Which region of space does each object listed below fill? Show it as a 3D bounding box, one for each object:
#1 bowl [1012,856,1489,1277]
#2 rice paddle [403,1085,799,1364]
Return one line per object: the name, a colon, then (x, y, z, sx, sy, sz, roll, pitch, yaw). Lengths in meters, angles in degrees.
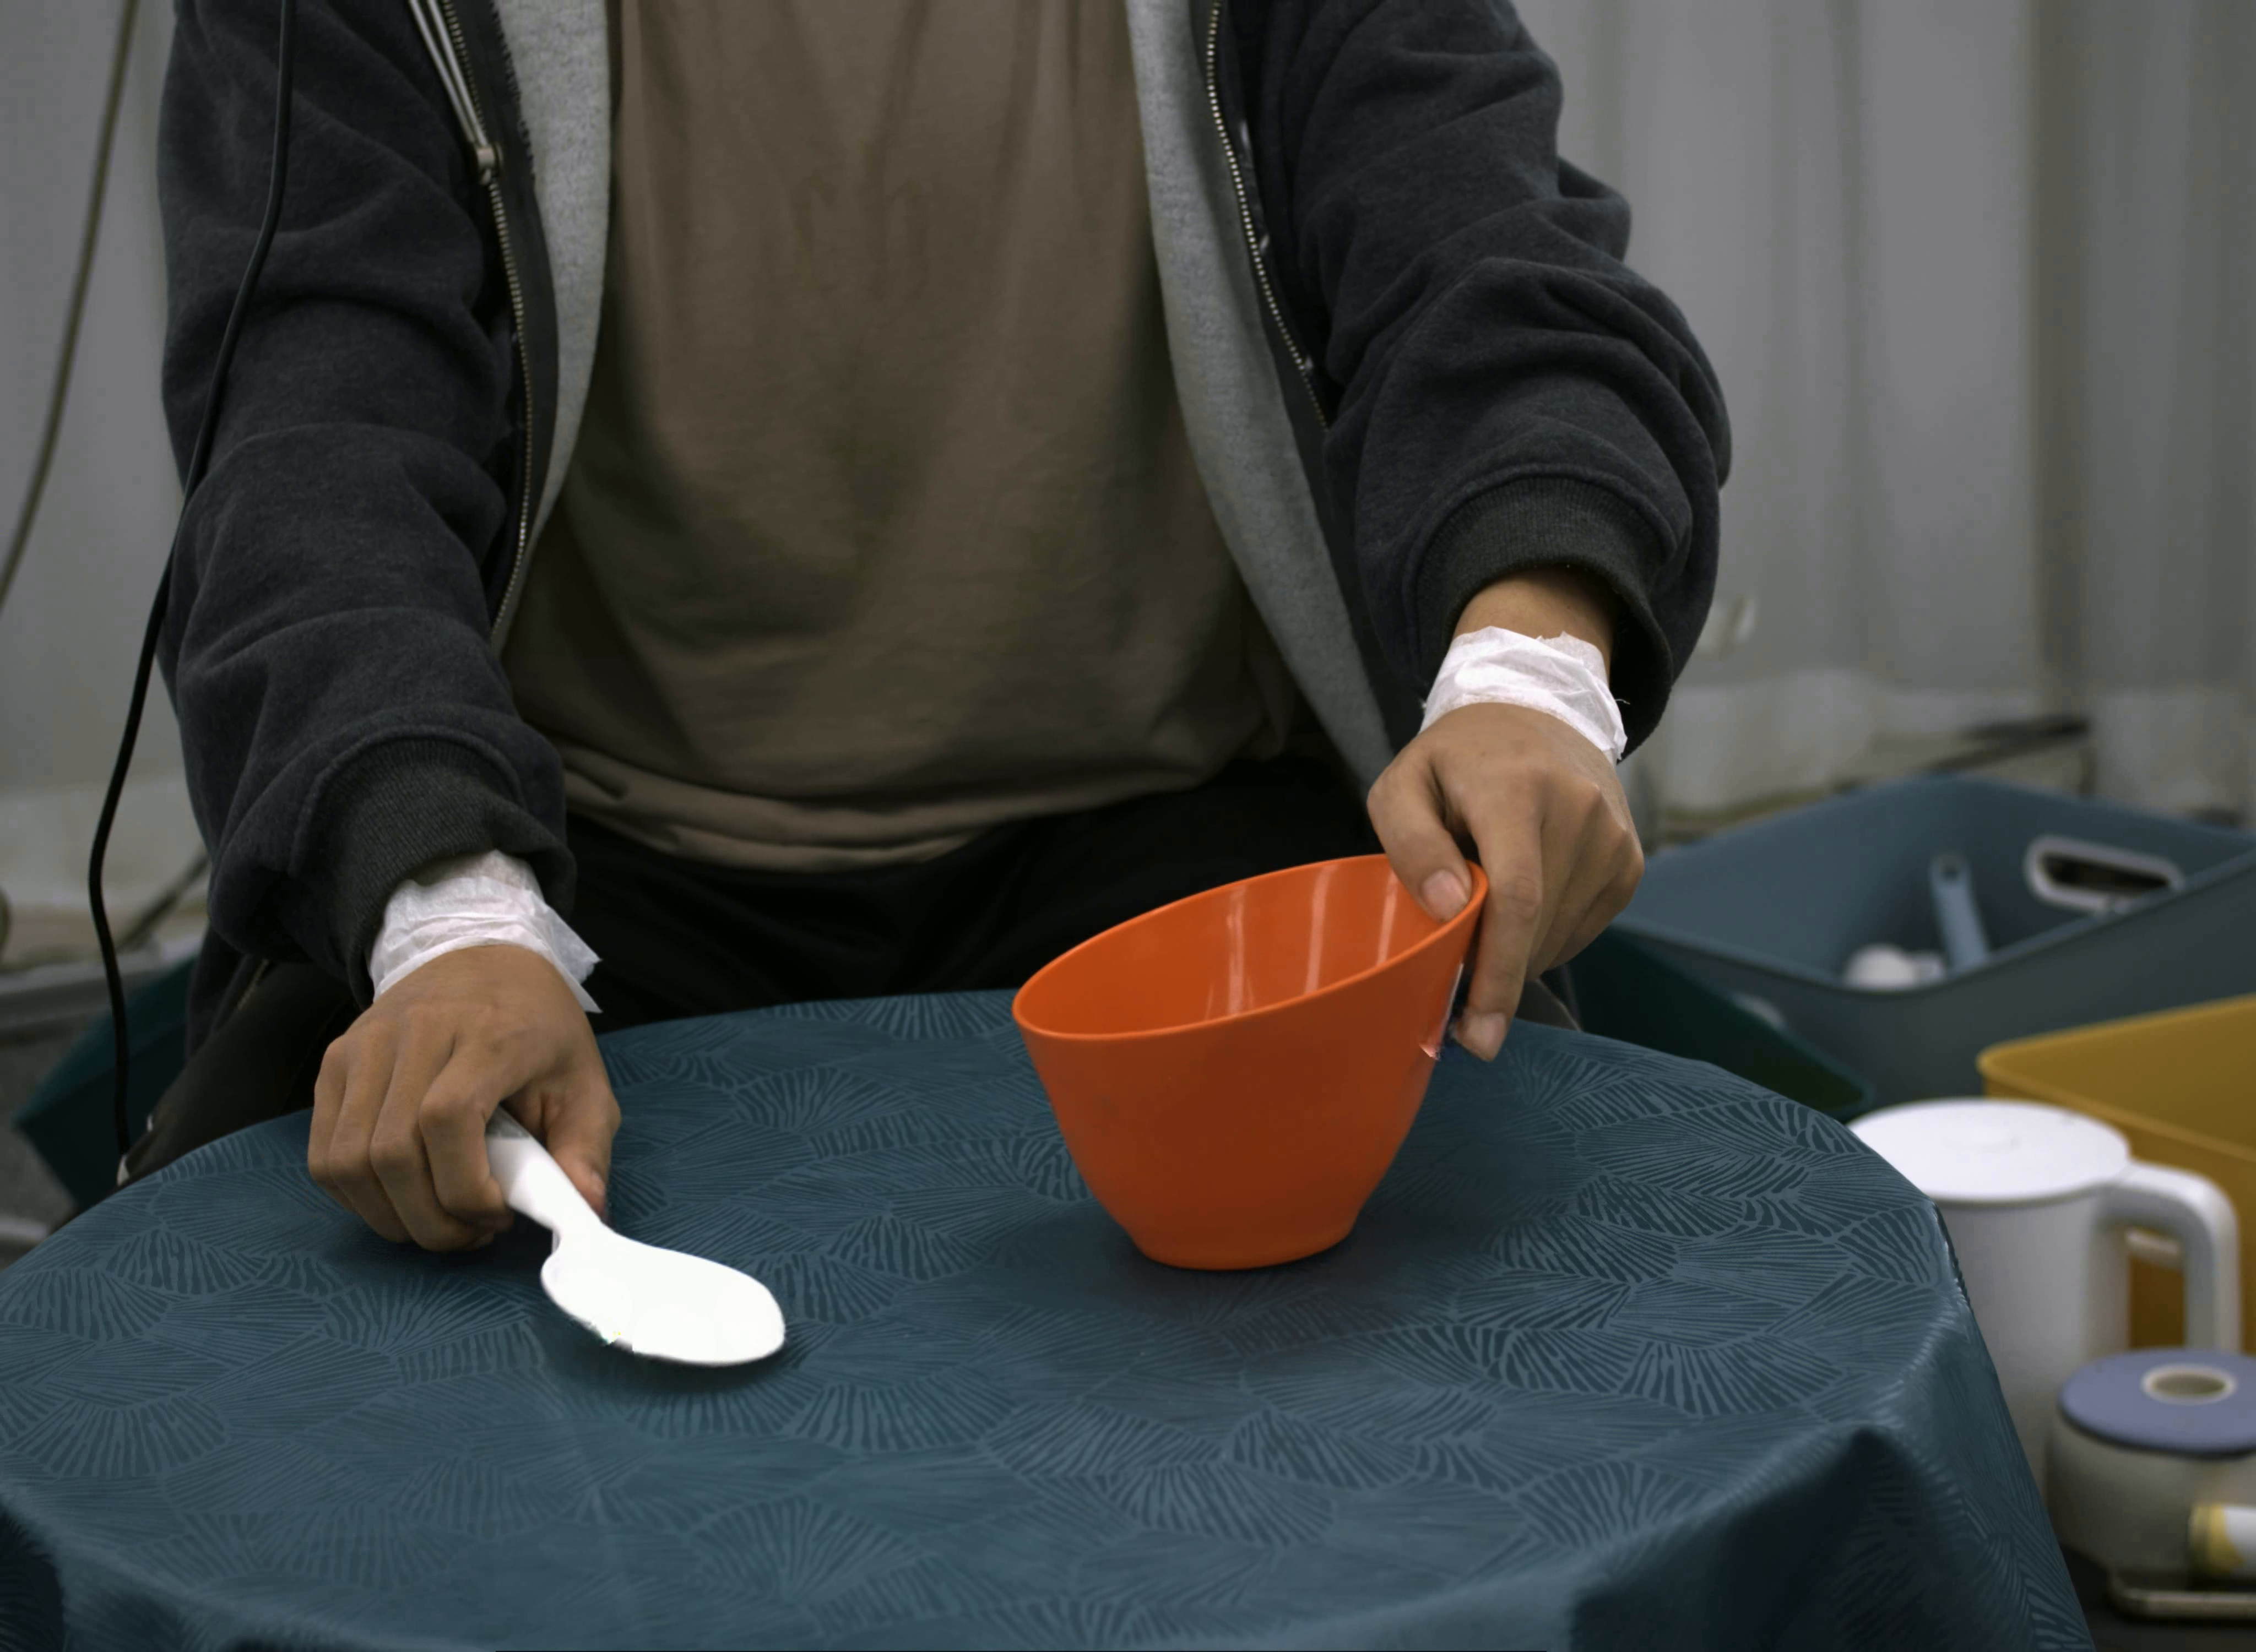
bowl: (0.041, 0.076, 1.652, 0.147, 0.104, 0.149, -7, 15, 1)
rice paddle: (-0.163, 0.122, 1.646, 0.068, 0.029, 0.207, -5, 18, -30)
